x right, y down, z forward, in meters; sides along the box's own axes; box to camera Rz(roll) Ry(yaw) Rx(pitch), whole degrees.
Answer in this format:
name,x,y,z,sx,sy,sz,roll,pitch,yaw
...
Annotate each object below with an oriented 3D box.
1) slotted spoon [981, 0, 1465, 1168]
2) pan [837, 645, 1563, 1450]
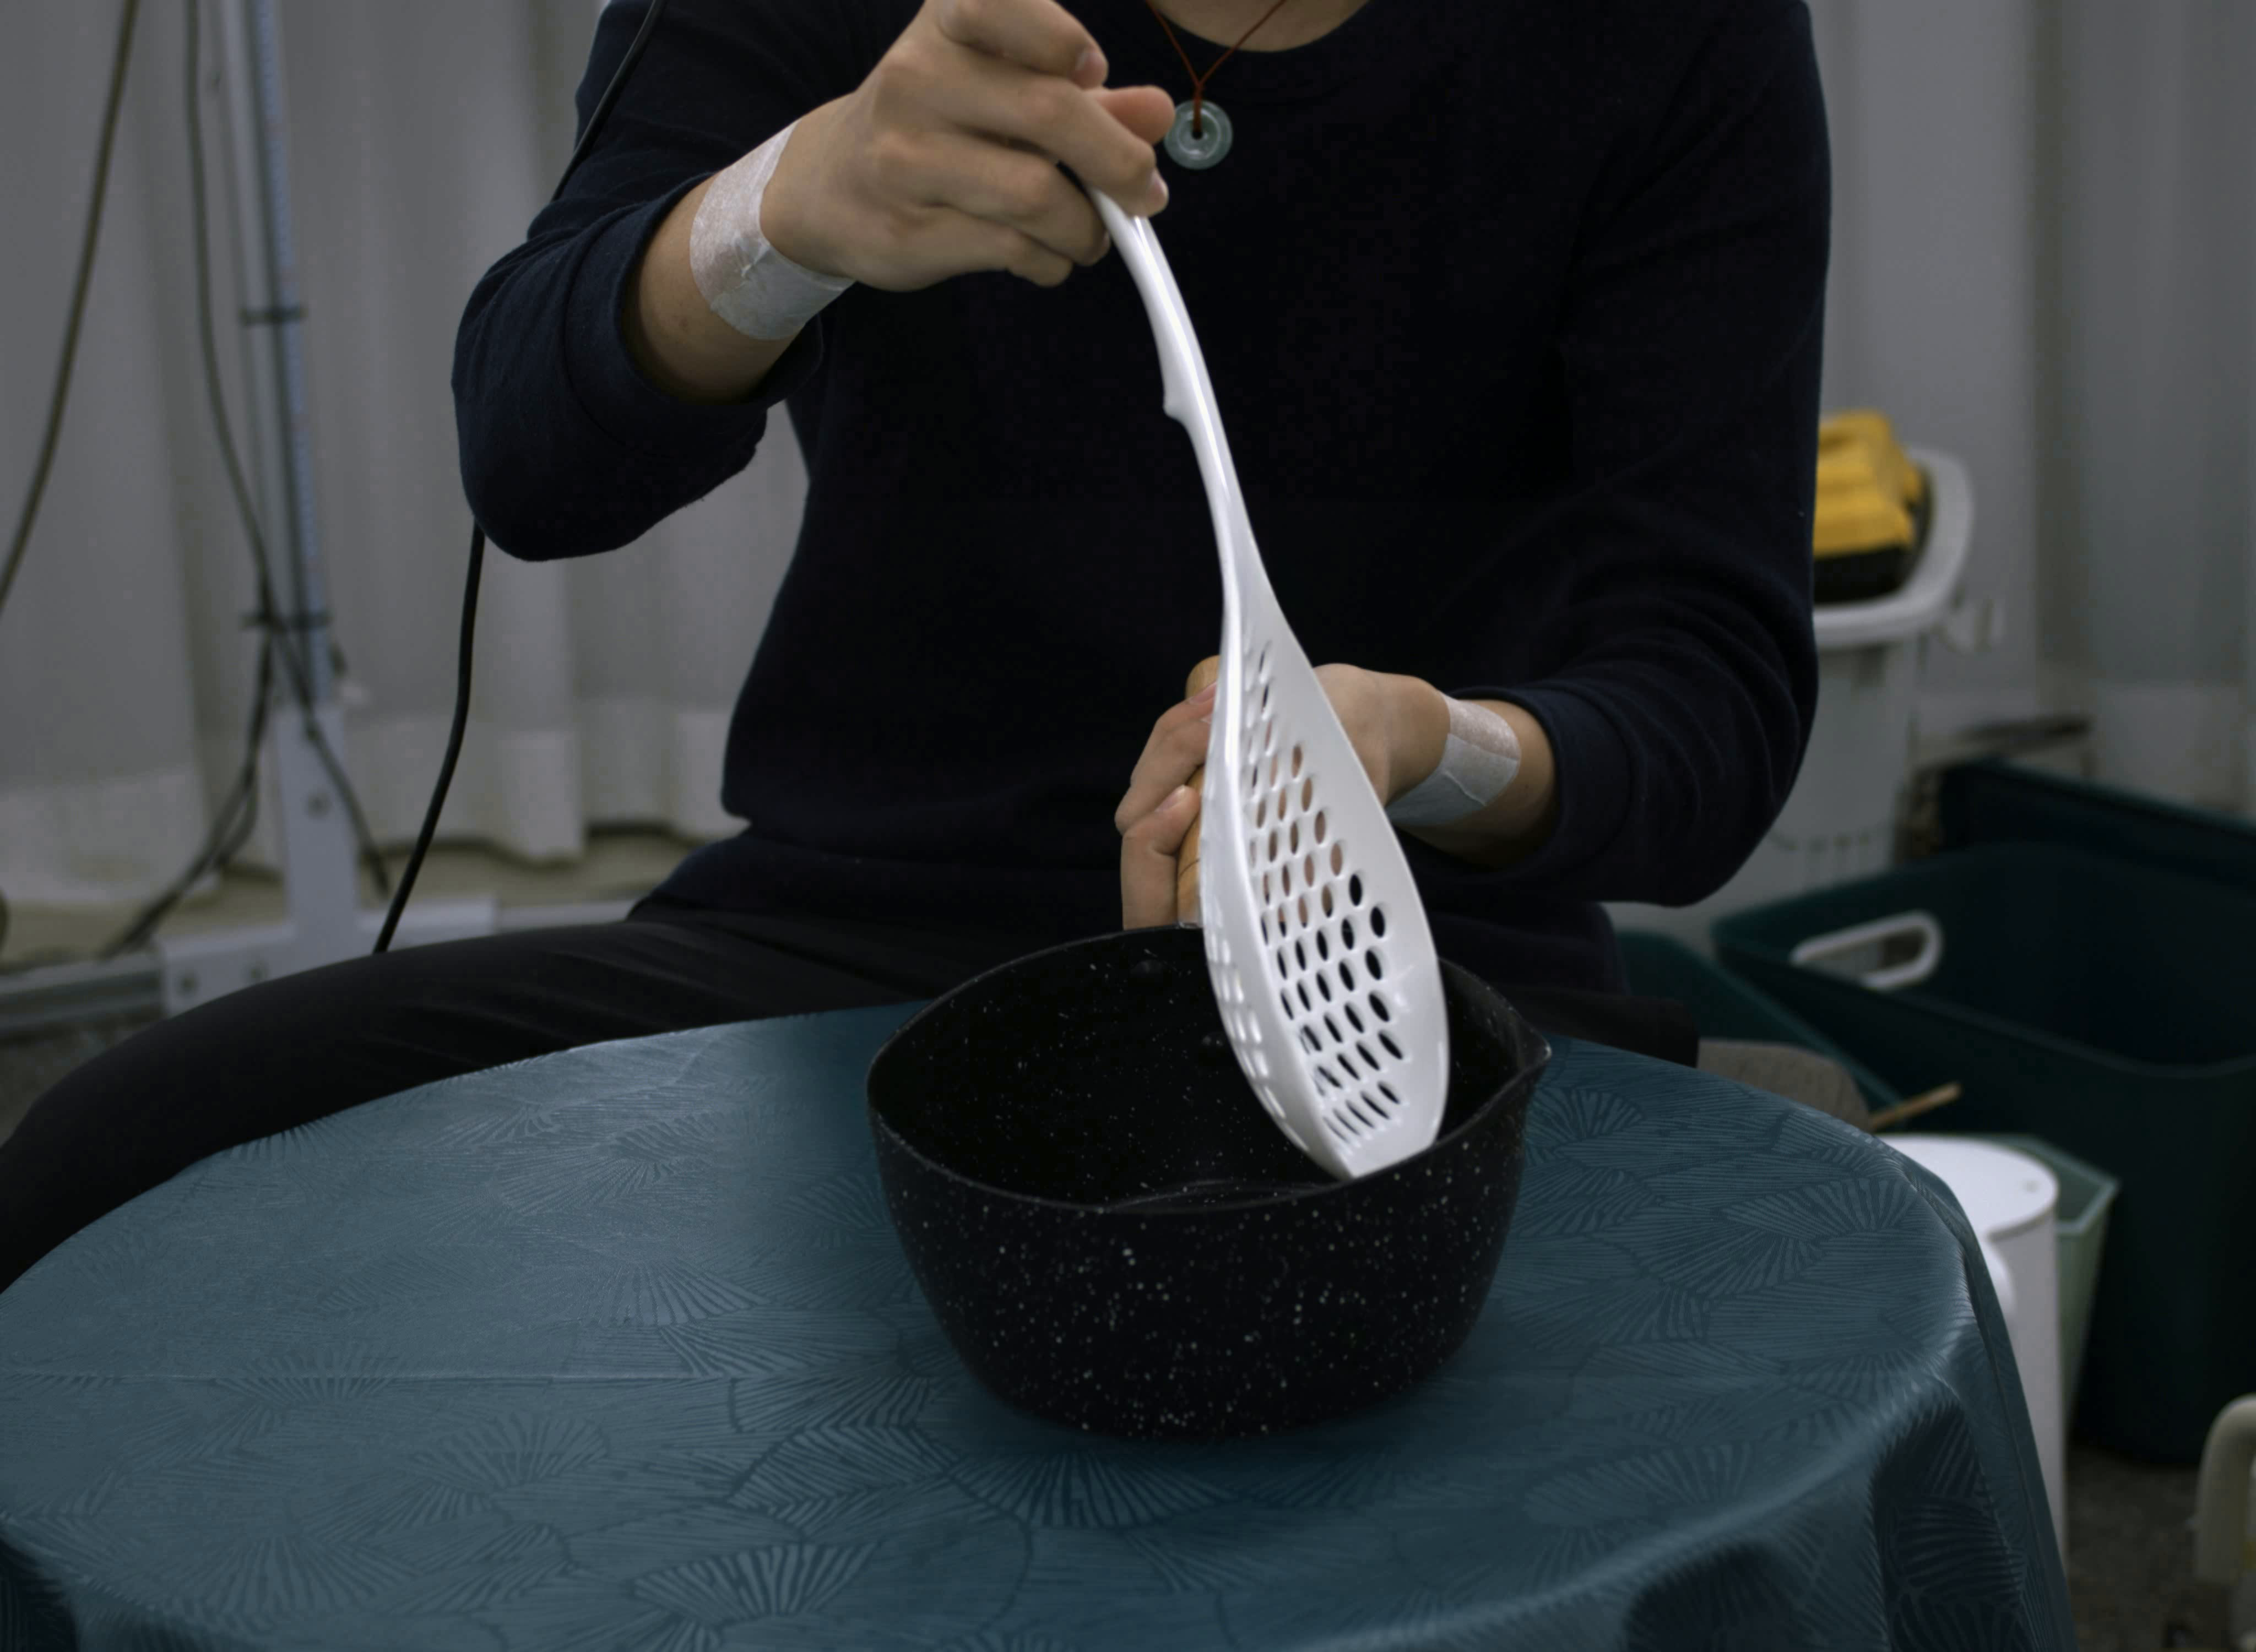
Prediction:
name,x,y,z,sx,sy,sz,roll,pitch,yaw
slotted spoon,0.024,-0.064,1.515,0.050,0.347,0.137,-9,10,22
pan,0.024,0.061,1.624,0.207,0.107,0.346,-4,24,4
